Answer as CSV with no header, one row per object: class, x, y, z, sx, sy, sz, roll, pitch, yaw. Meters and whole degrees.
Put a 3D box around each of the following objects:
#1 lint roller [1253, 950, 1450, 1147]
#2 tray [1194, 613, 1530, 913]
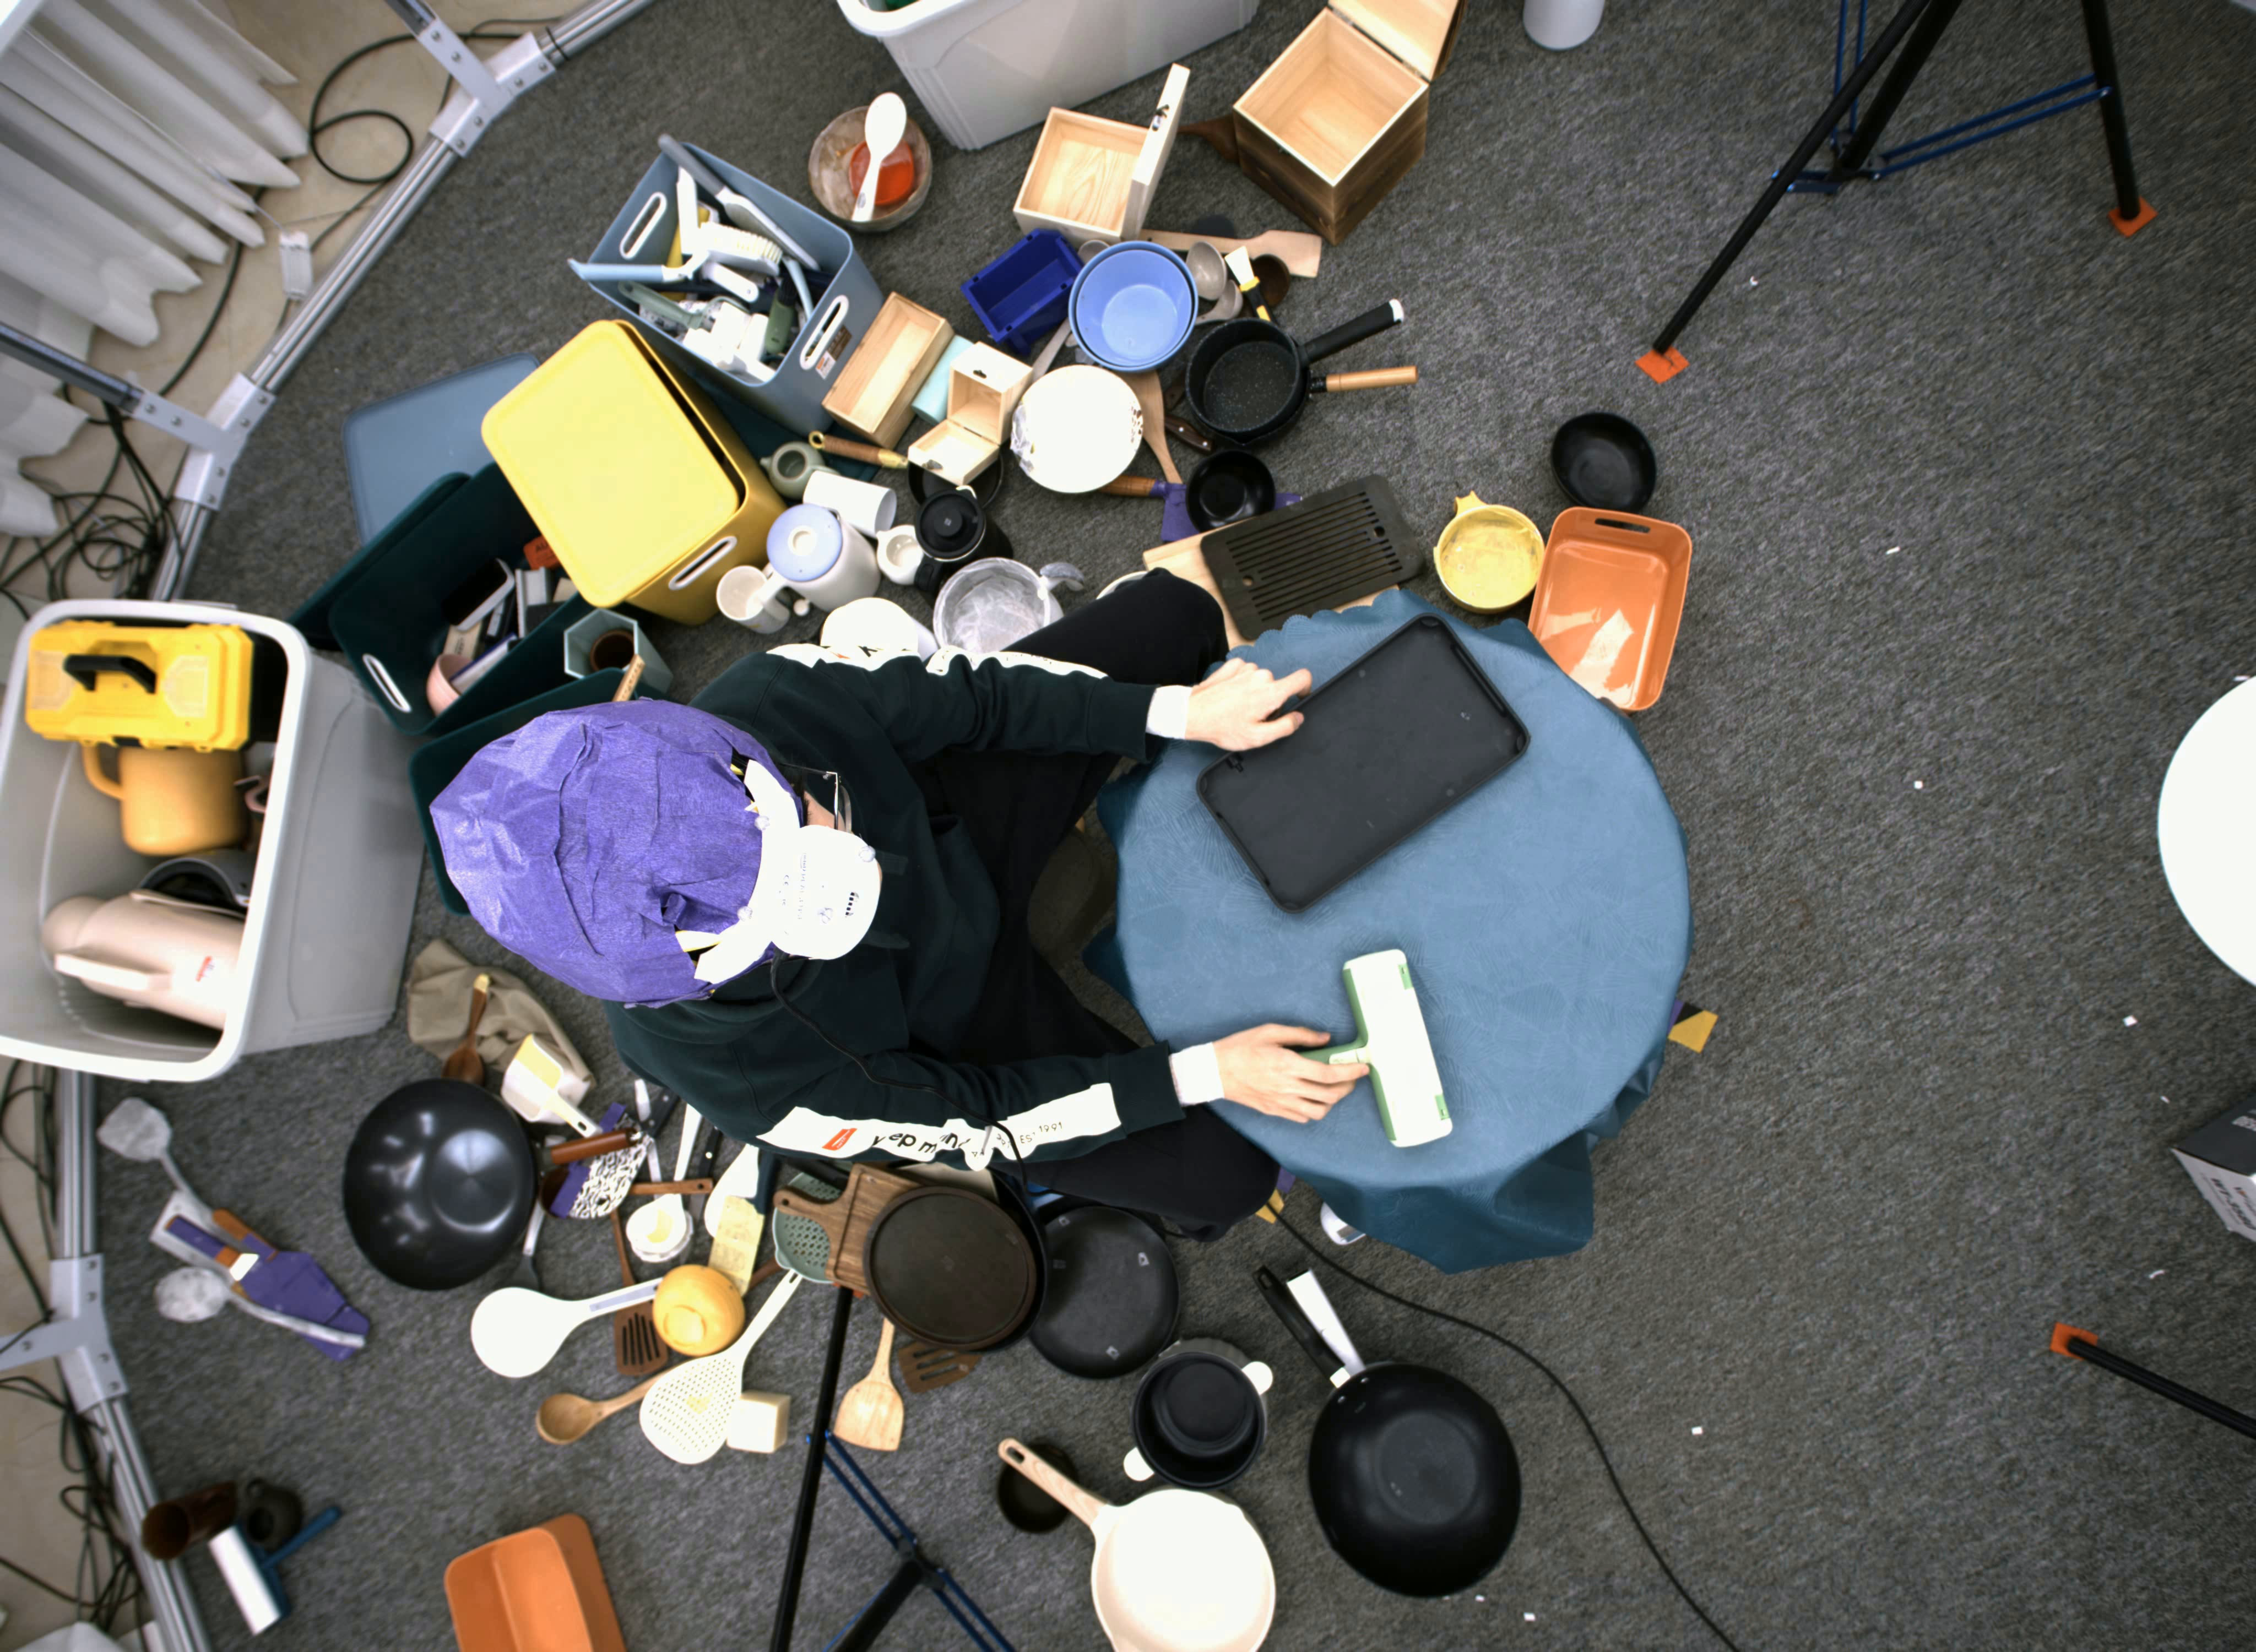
lint roller,0.217,0.240,1.417,0.184,0.082,0.197,-15,84,6
tray,0.243,-0.066,1.444,0.319,0.037,0.183,-35,85,6
